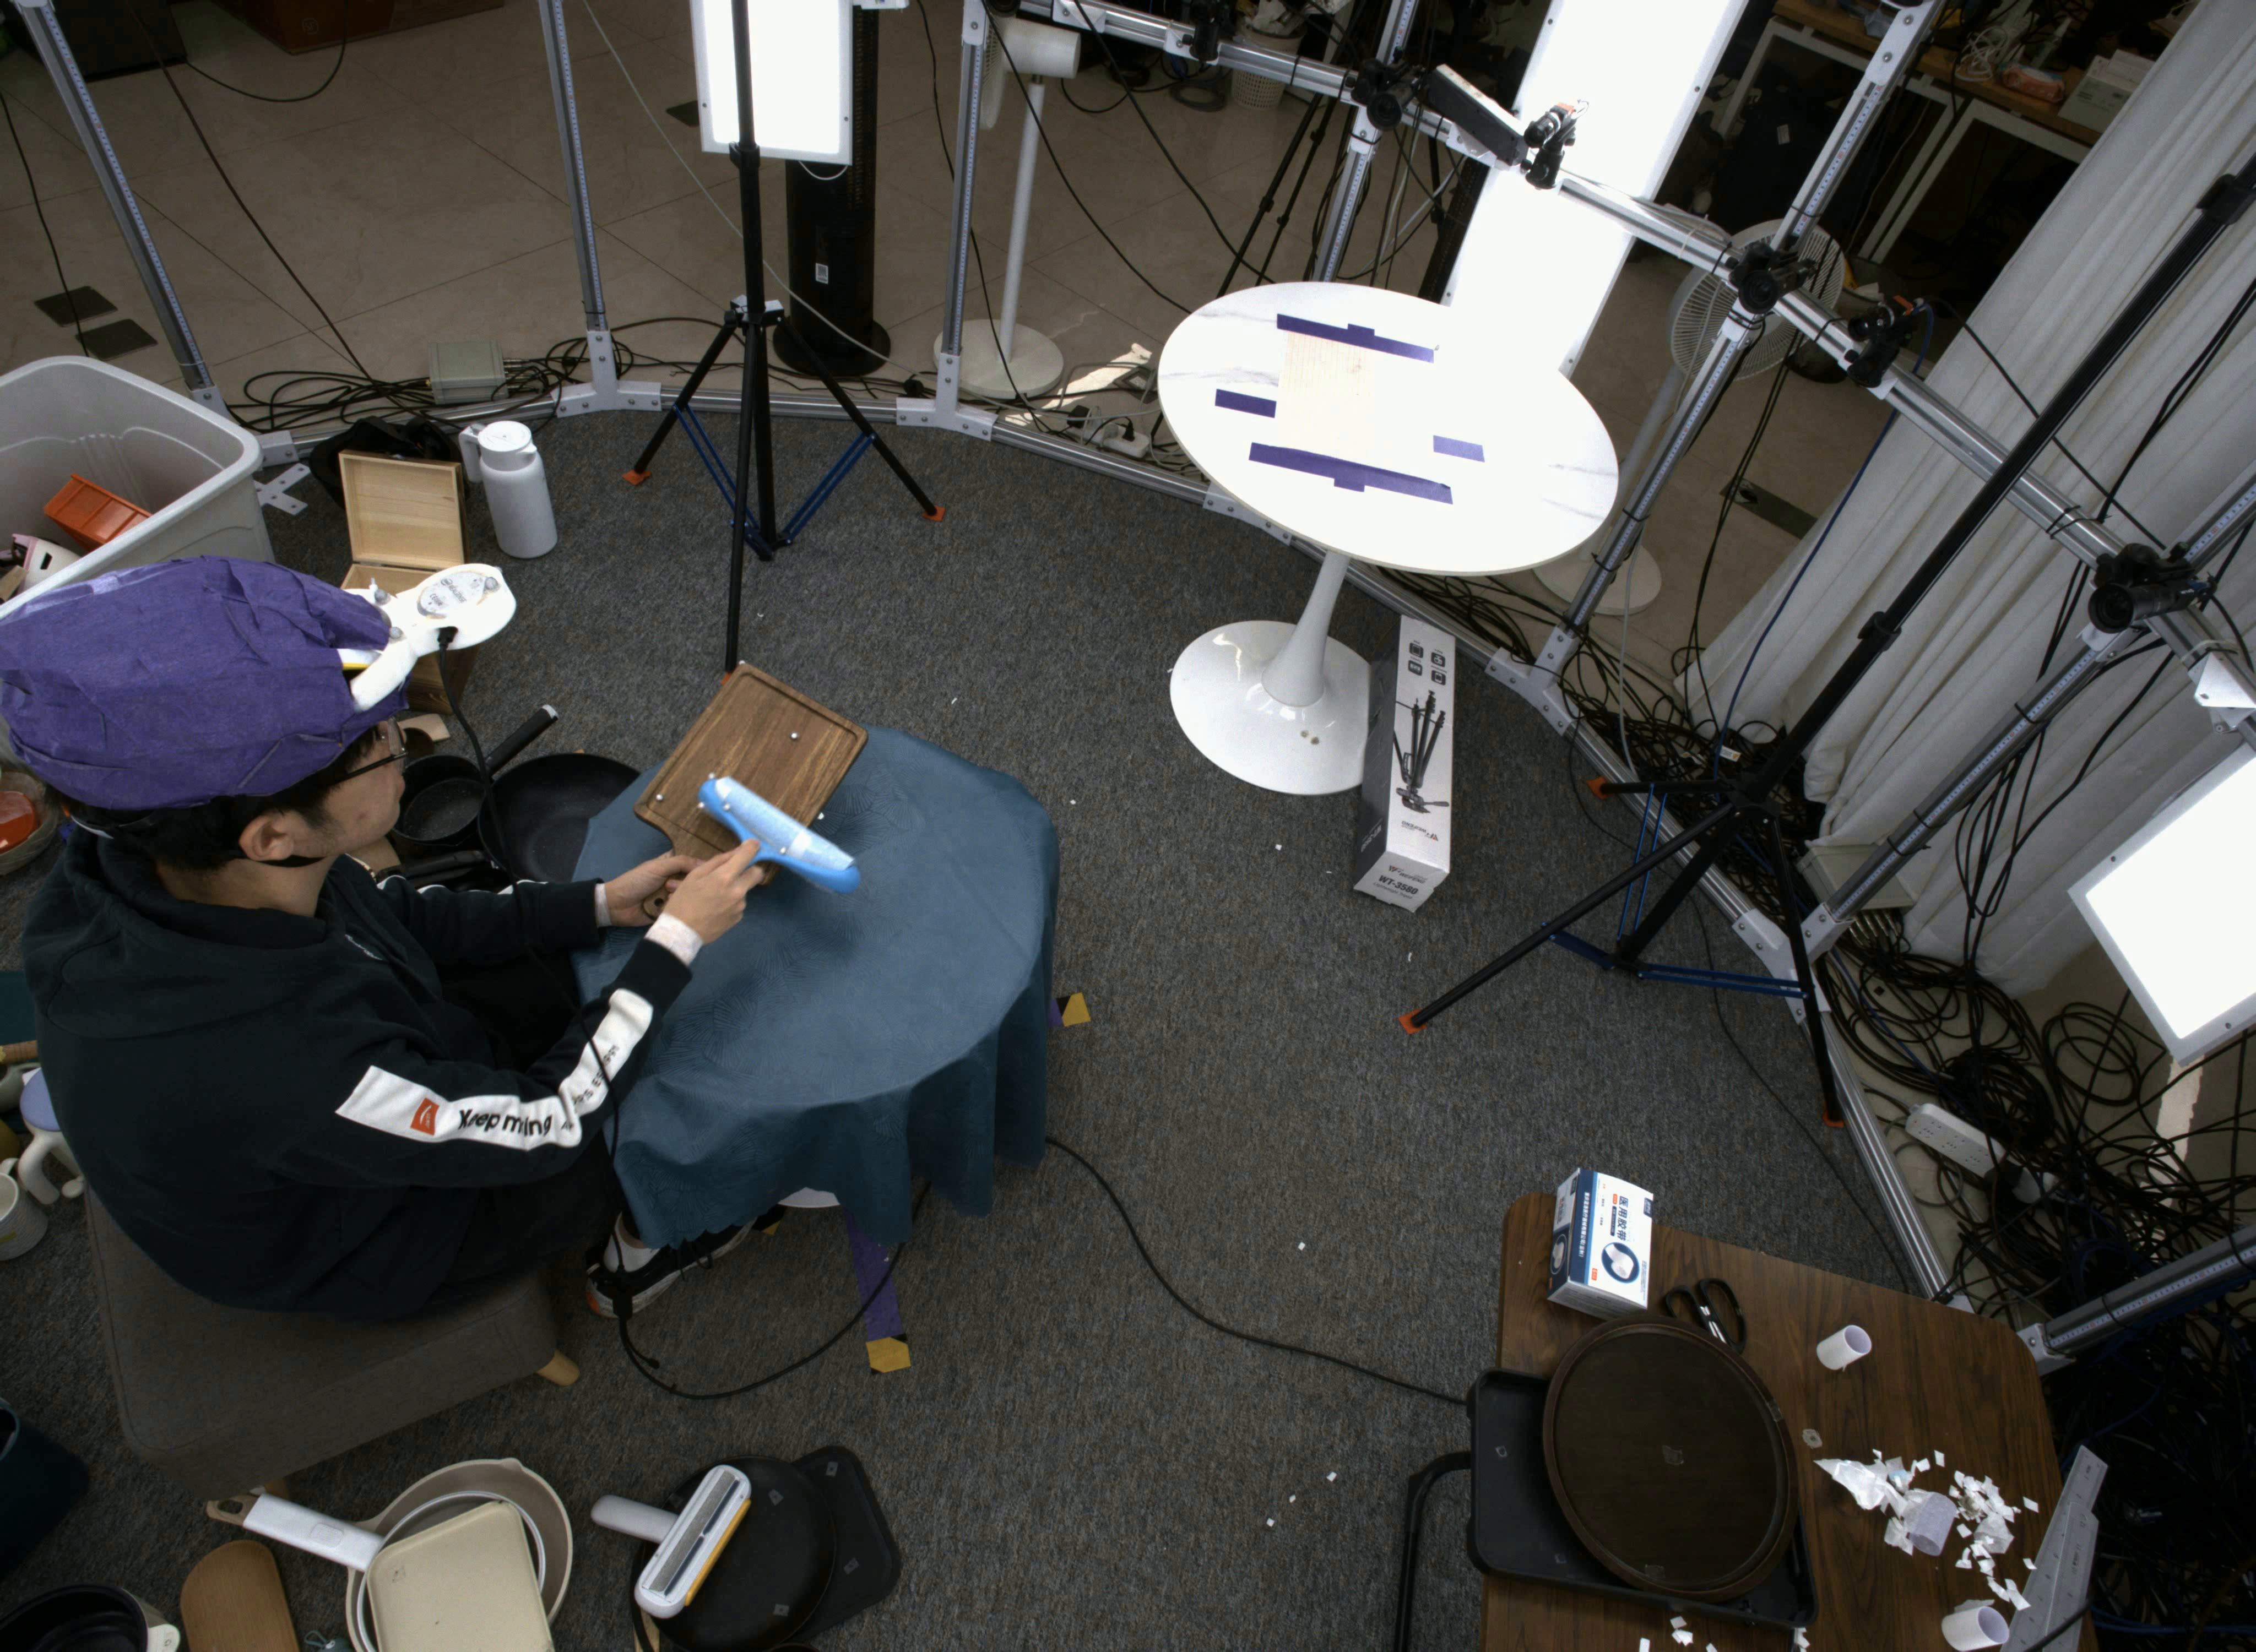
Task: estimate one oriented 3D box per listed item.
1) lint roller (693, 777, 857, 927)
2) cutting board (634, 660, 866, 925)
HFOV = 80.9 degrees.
[{"bbox_3d":[-0.454,0.045,1.552,0.229,0.068,0.179,32,42,-3],"label":"lint roller"},{"bbox_3d":[-0.501,-0.031,1.630,0.200,0.023,0.351,29,67,-3],"label":"cutting board"}]
